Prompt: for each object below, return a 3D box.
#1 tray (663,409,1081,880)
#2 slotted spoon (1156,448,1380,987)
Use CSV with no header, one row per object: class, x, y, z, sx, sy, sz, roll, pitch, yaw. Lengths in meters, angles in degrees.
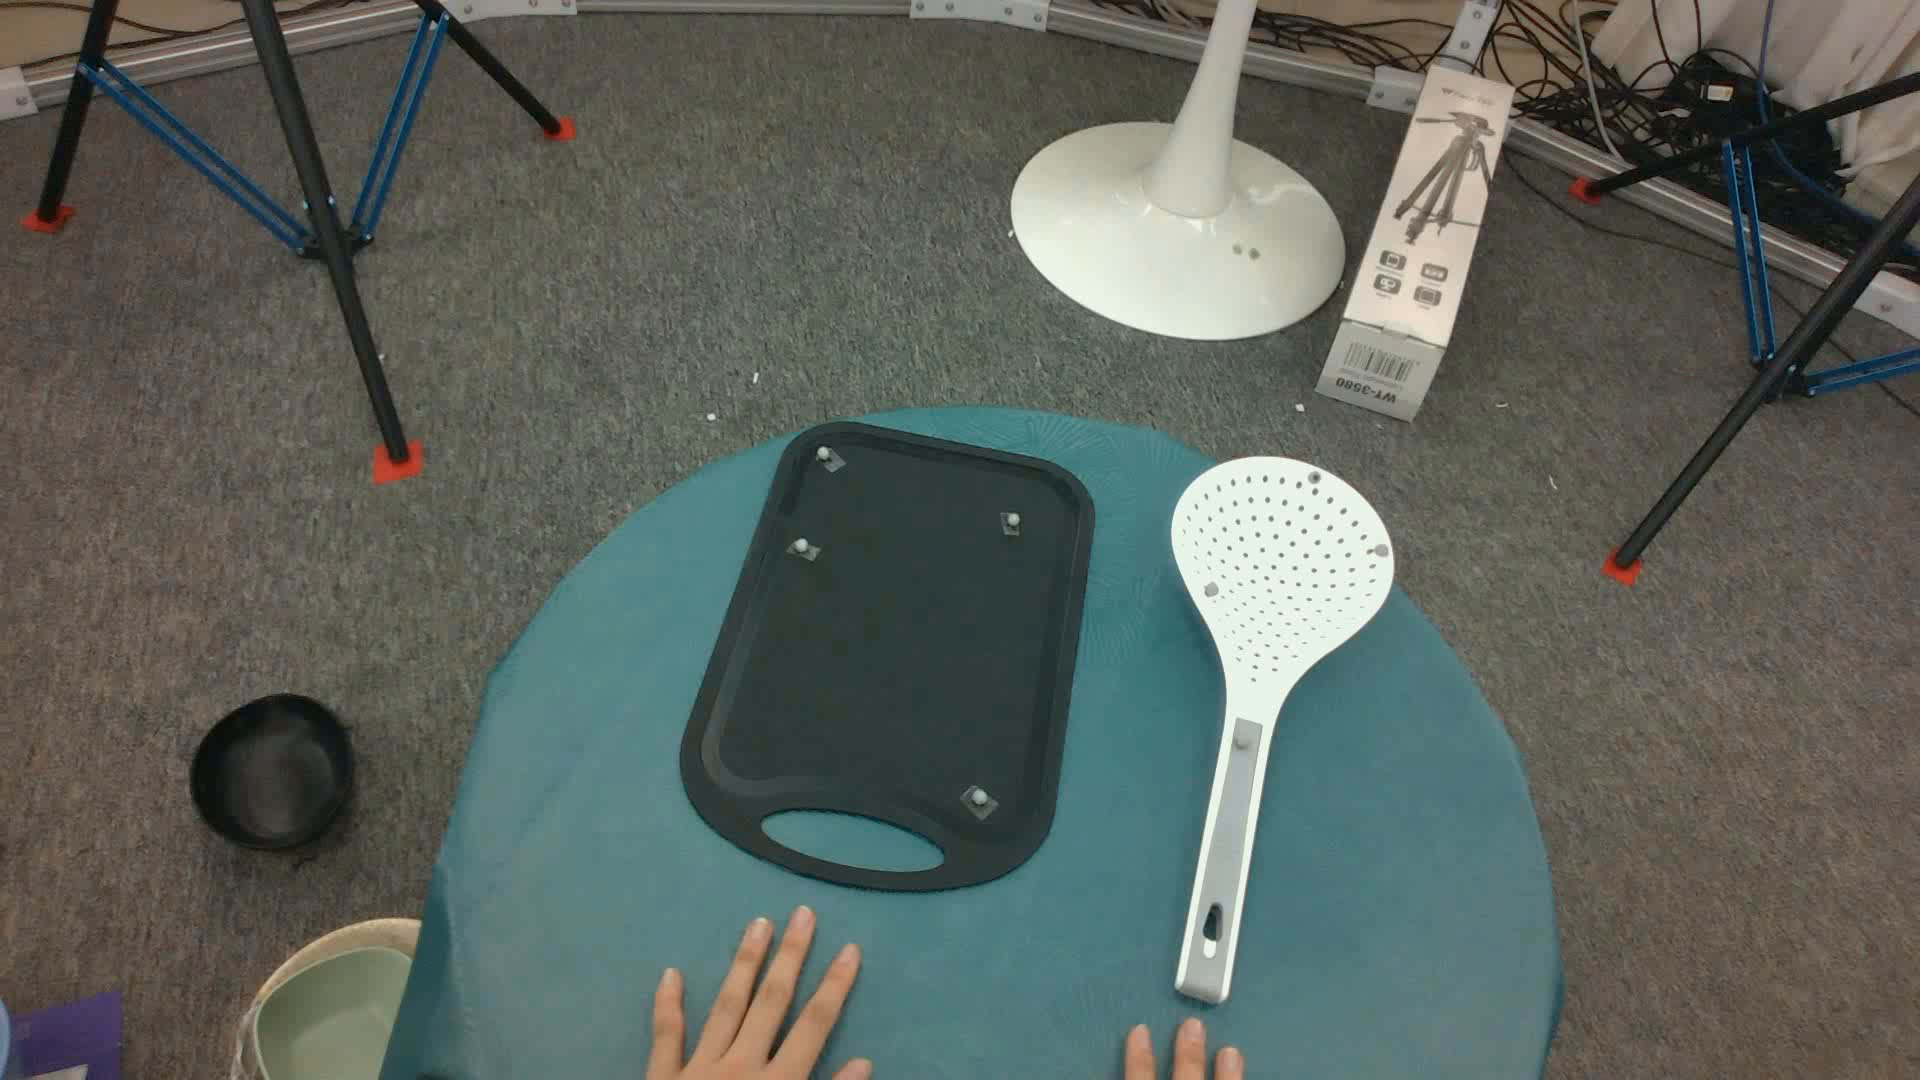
tray,-0.043,0.048,0.817,0.211,0.010,0.327,11,51,1
slotted spoon,0.161,0.086,0.793,0.136,0.045,0.351,15,51,6
